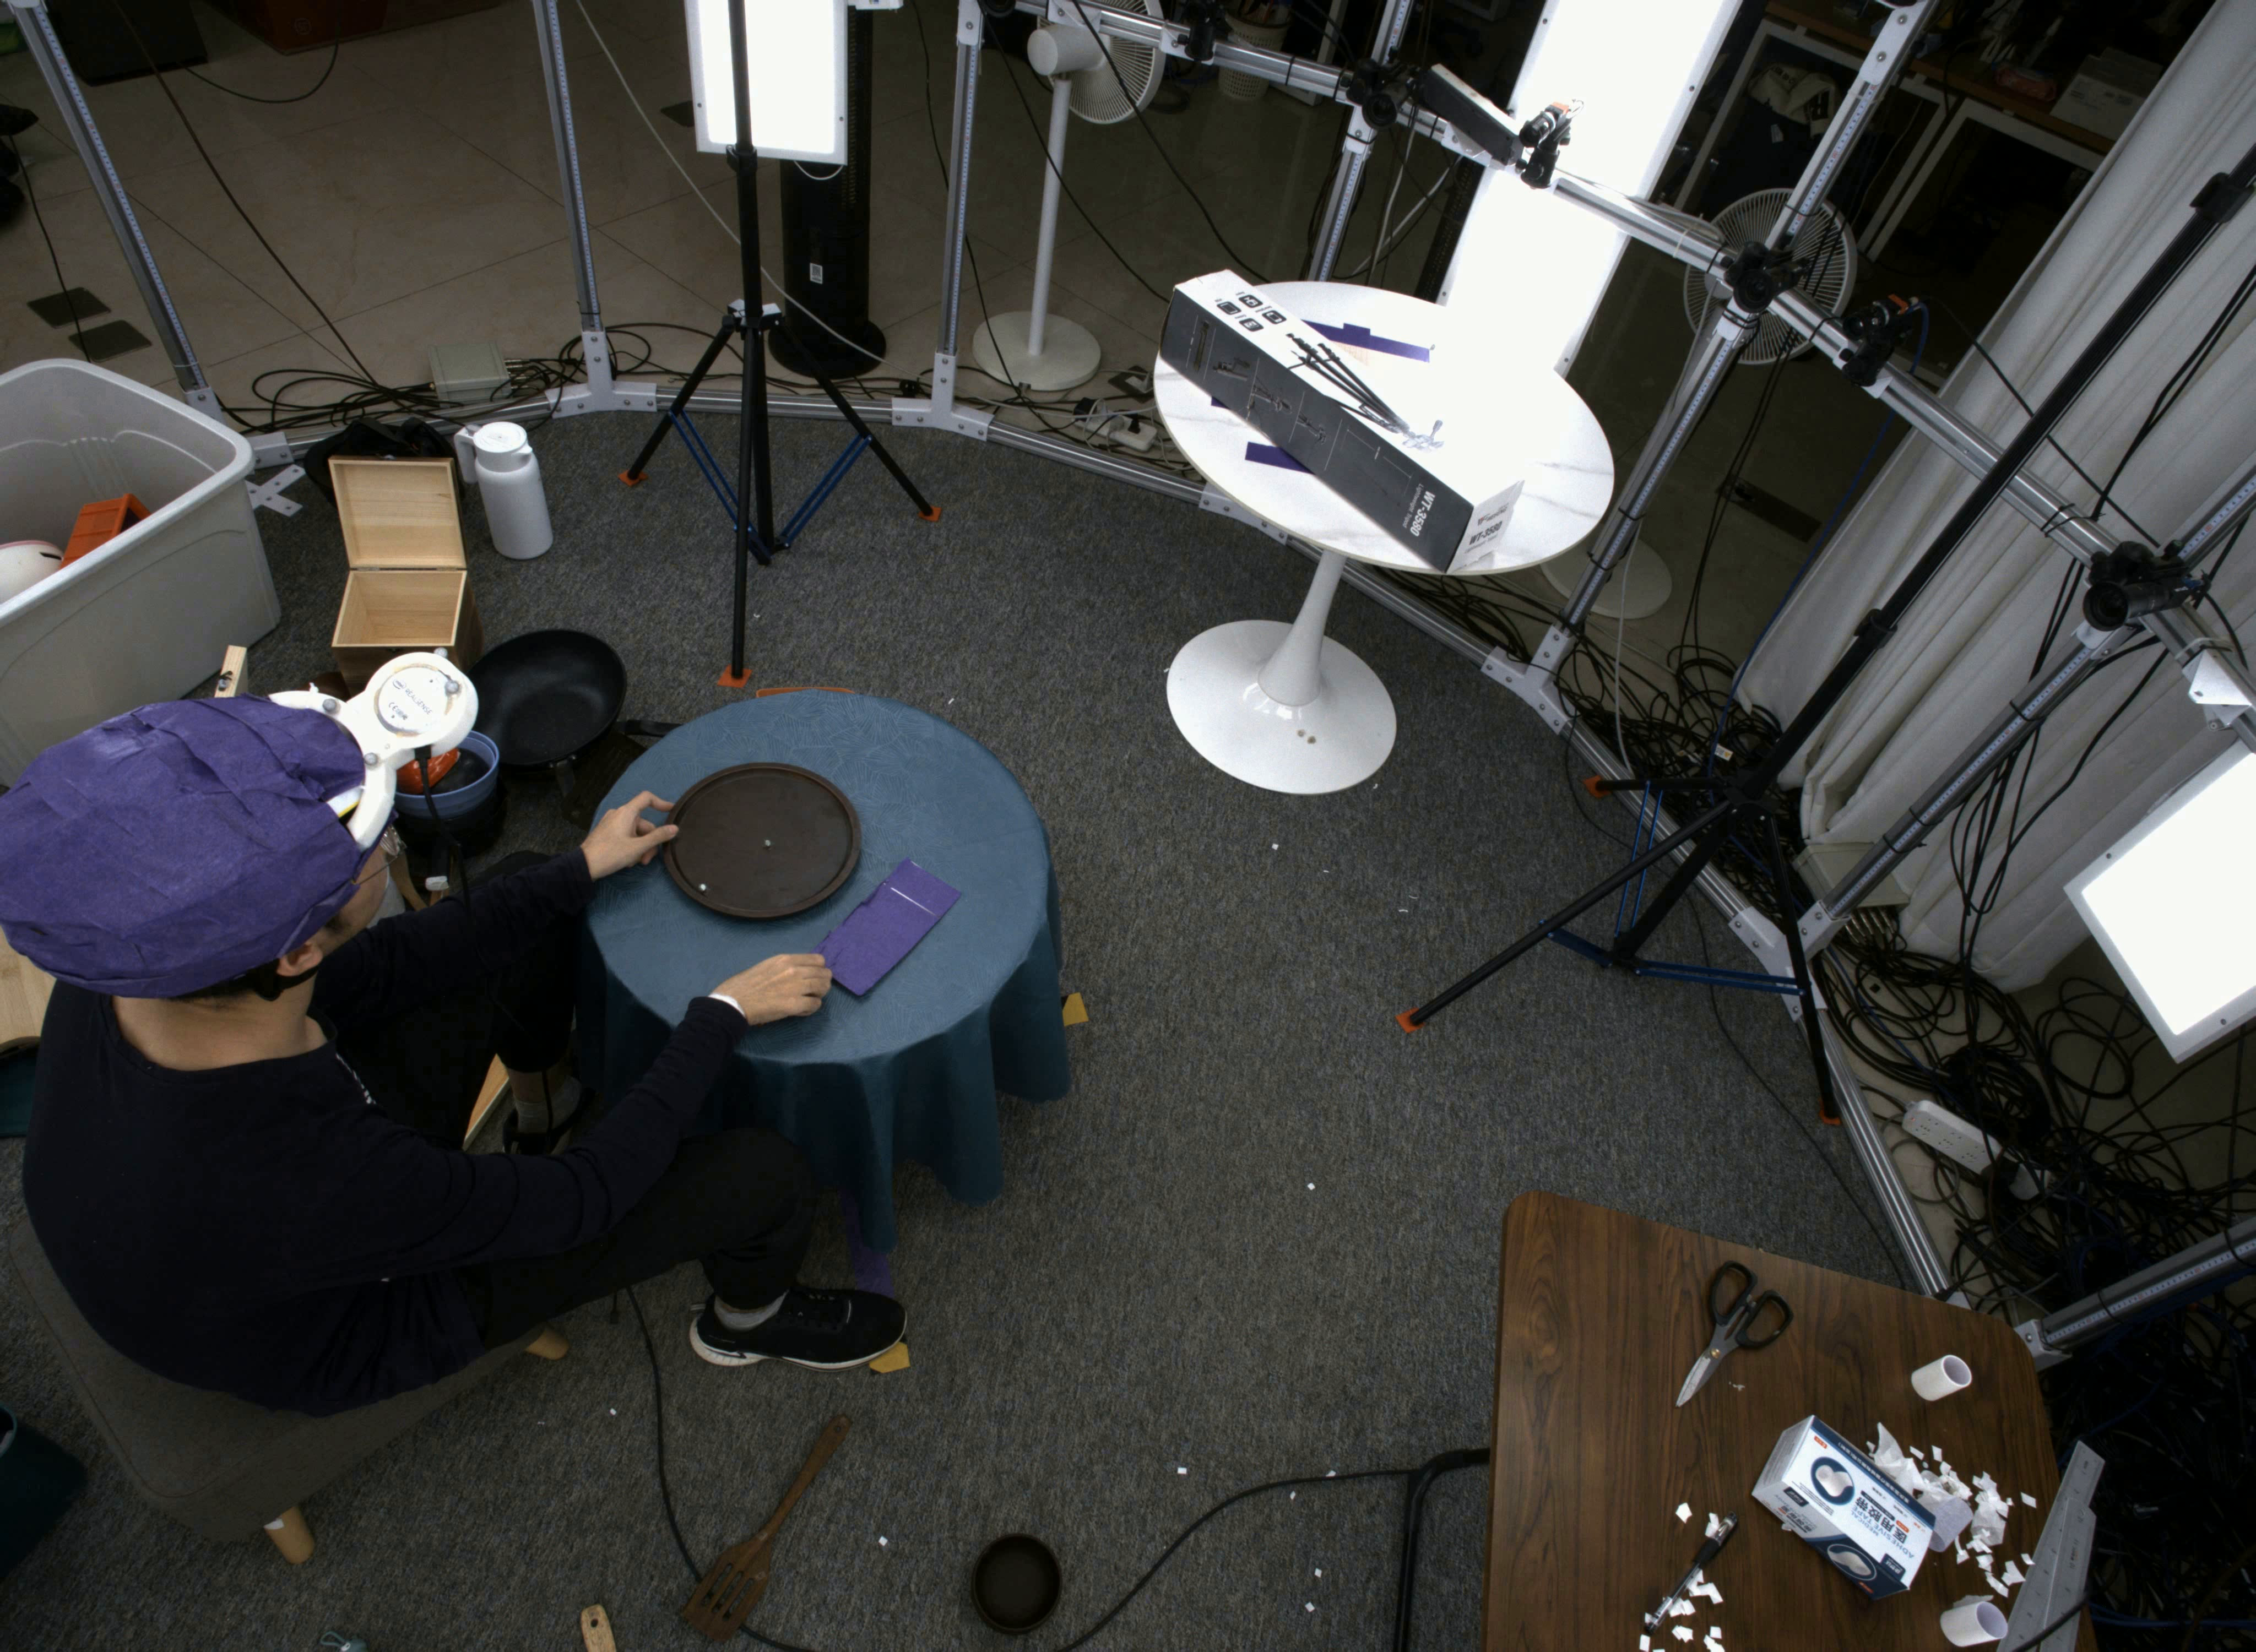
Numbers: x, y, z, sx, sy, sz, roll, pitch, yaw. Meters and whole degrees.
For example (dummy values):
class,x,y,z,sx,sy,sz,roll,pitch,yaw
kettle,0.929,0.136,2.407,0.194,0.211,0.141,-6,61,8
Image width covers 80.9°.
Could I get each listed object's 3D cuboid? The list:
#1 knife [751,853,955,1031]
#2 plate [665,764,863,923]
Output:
class,x,y,z,sx,sy,sz,roll,pitch,yaw
knife,-0.335,0.151,1.629,0.102,0.033,0.314,31,52,11
plate,-0.475,0.019,1.692,0.254,0.029,0.250,9,52,-9
